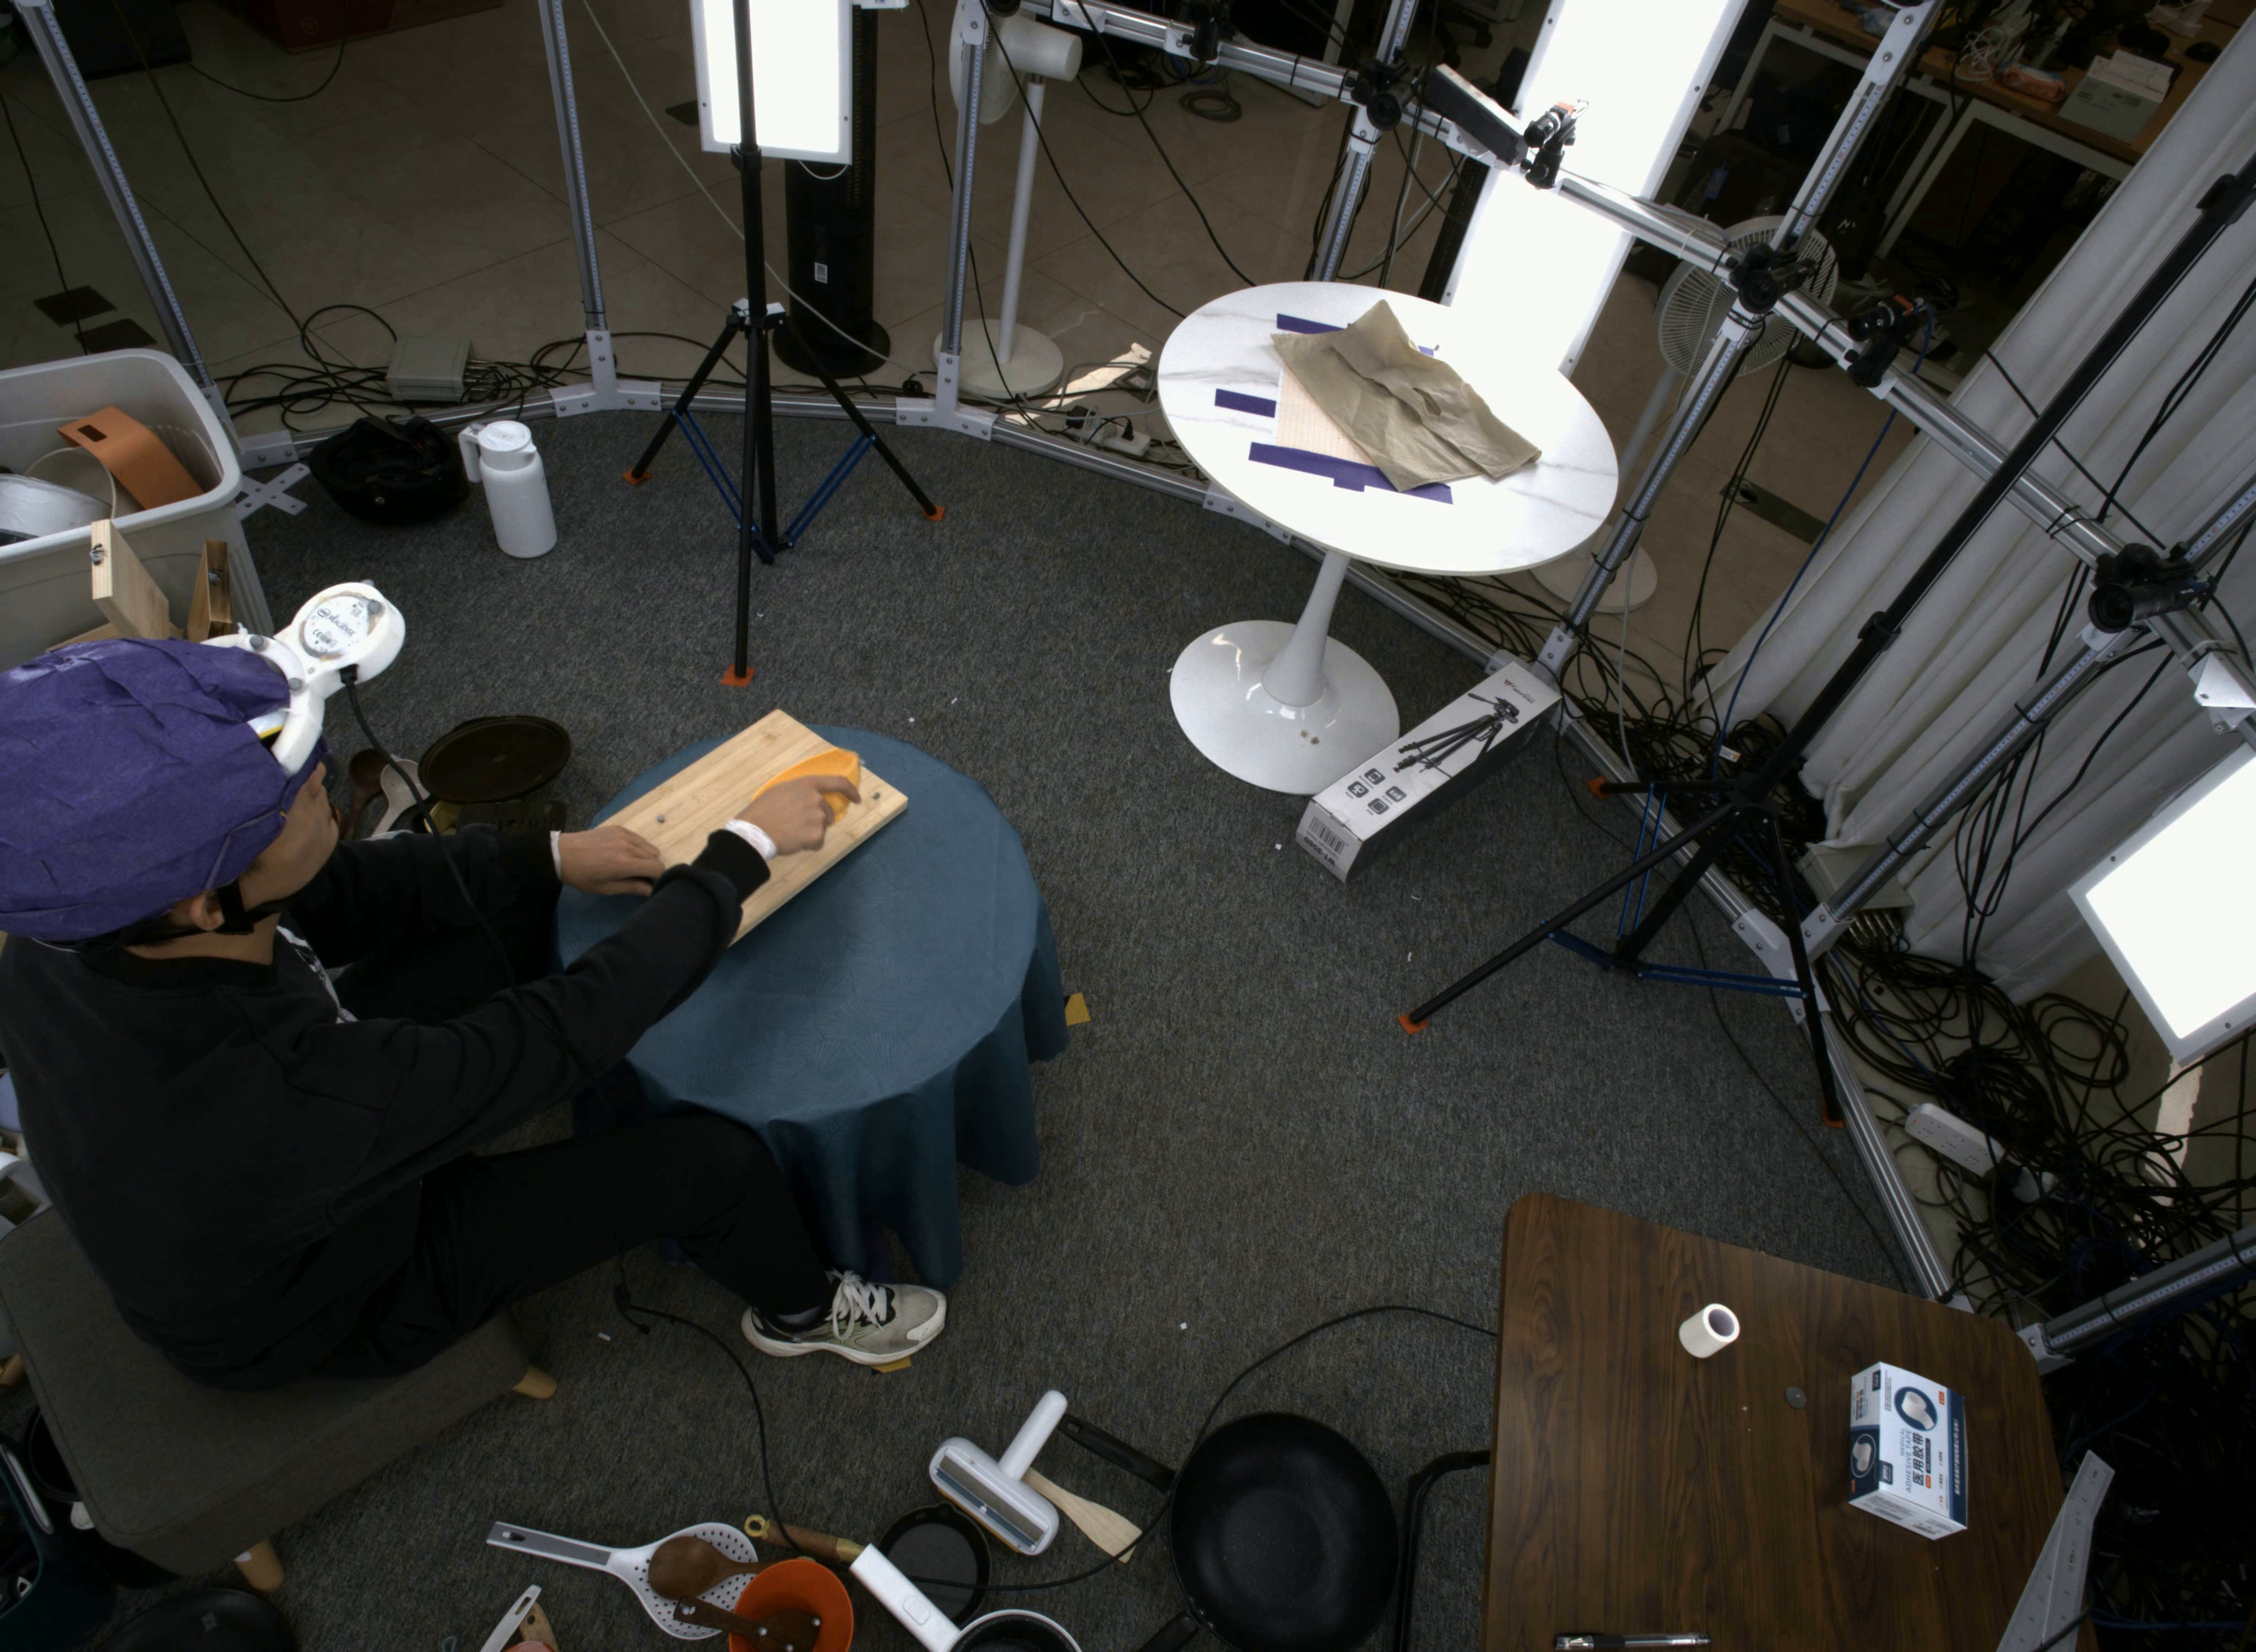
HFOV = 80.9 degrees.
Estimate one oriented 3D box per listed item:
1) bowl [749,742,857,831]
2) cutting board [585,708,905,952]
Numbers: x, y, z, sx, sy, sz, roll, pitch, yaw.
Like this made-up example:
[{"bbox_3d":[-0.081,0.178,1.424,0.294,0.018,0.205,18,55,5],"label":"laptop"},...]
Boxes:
[{"bbox_3d":[-0.384,-0.038,1.579,0.143,0.062,0.142,-23,23,13],"label":"bowl"},{"bbox_3d":[-0.491,-0.007,1.680,0.246,0.024,0.348,33,46,11],"label":"cutting board"}]
